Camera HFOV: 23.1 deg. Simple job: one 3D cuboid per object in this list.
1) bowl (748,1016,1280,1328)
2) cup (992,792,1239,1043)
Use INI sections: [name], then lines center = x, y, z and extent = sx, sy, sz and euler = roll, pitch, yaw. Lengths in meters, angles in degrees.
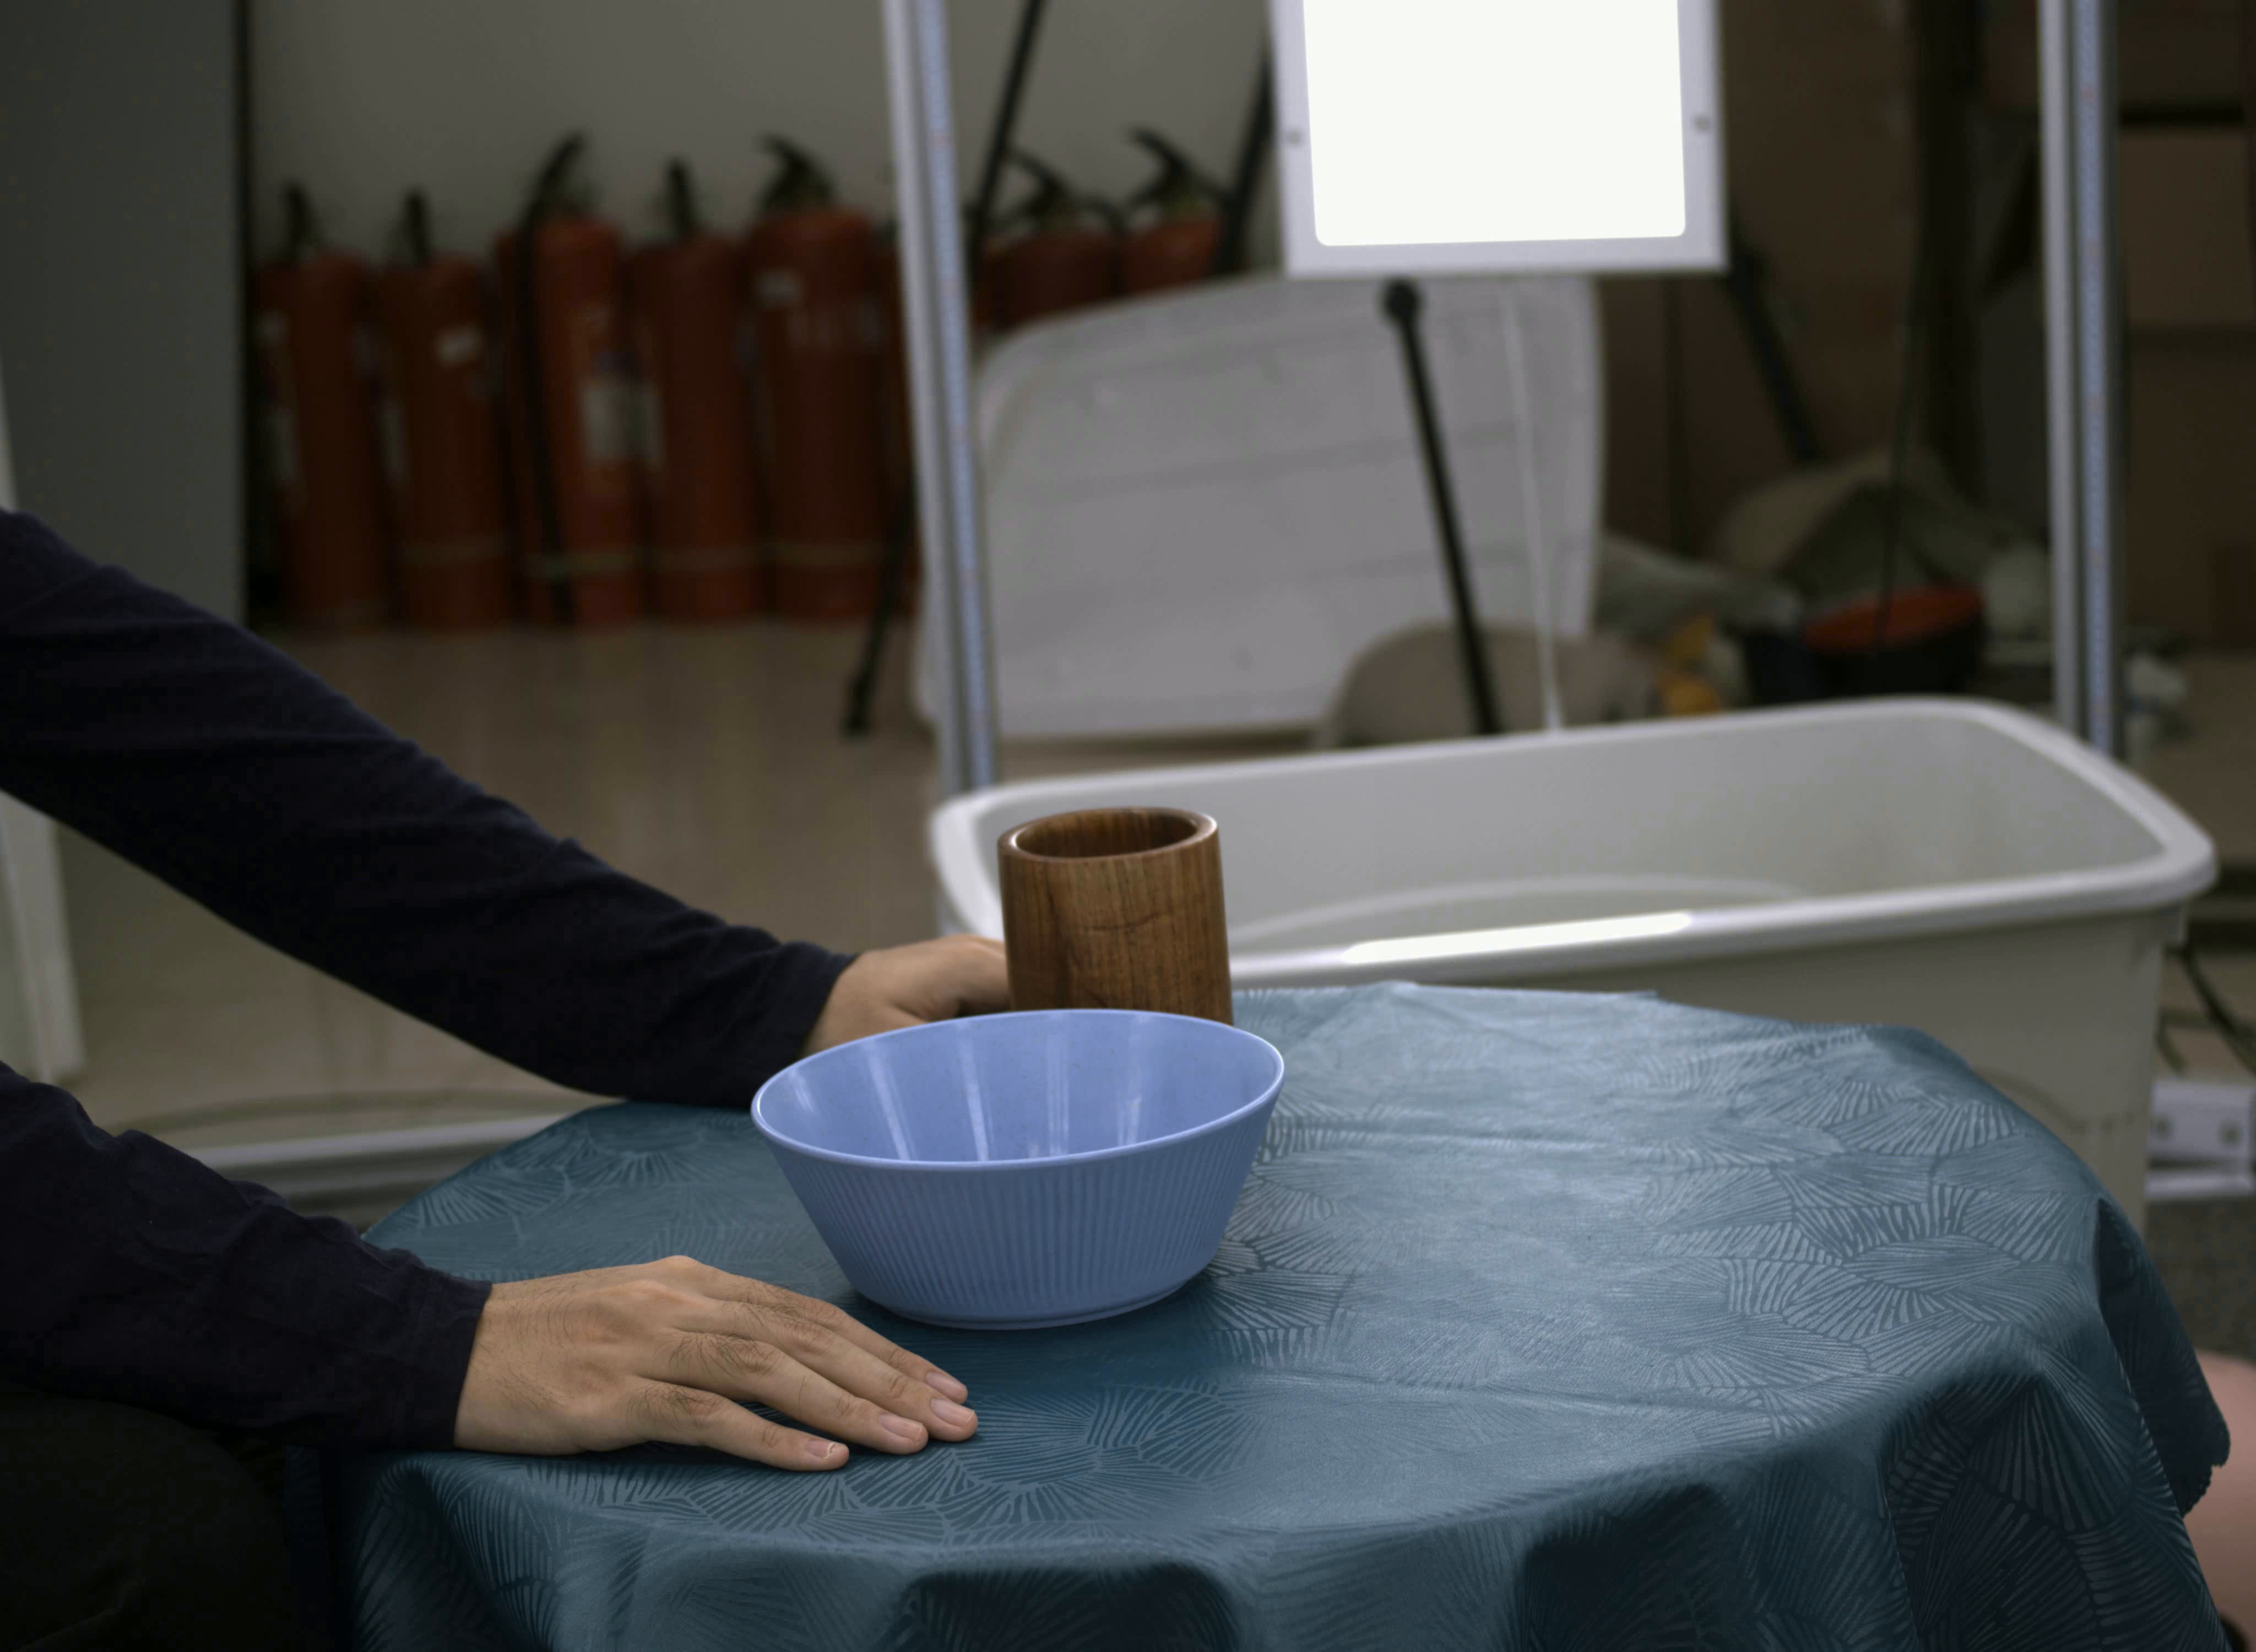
[bowl]
center = -0.035, 0.116, 1.808
extent = 0.175, 0.070, 0.176
euler = -6, 13, 0
[cup]
center = -0.002, 0.054, 1.953
extent = 0.087, 0.119, 0.087
euler = -7, 12, 0
